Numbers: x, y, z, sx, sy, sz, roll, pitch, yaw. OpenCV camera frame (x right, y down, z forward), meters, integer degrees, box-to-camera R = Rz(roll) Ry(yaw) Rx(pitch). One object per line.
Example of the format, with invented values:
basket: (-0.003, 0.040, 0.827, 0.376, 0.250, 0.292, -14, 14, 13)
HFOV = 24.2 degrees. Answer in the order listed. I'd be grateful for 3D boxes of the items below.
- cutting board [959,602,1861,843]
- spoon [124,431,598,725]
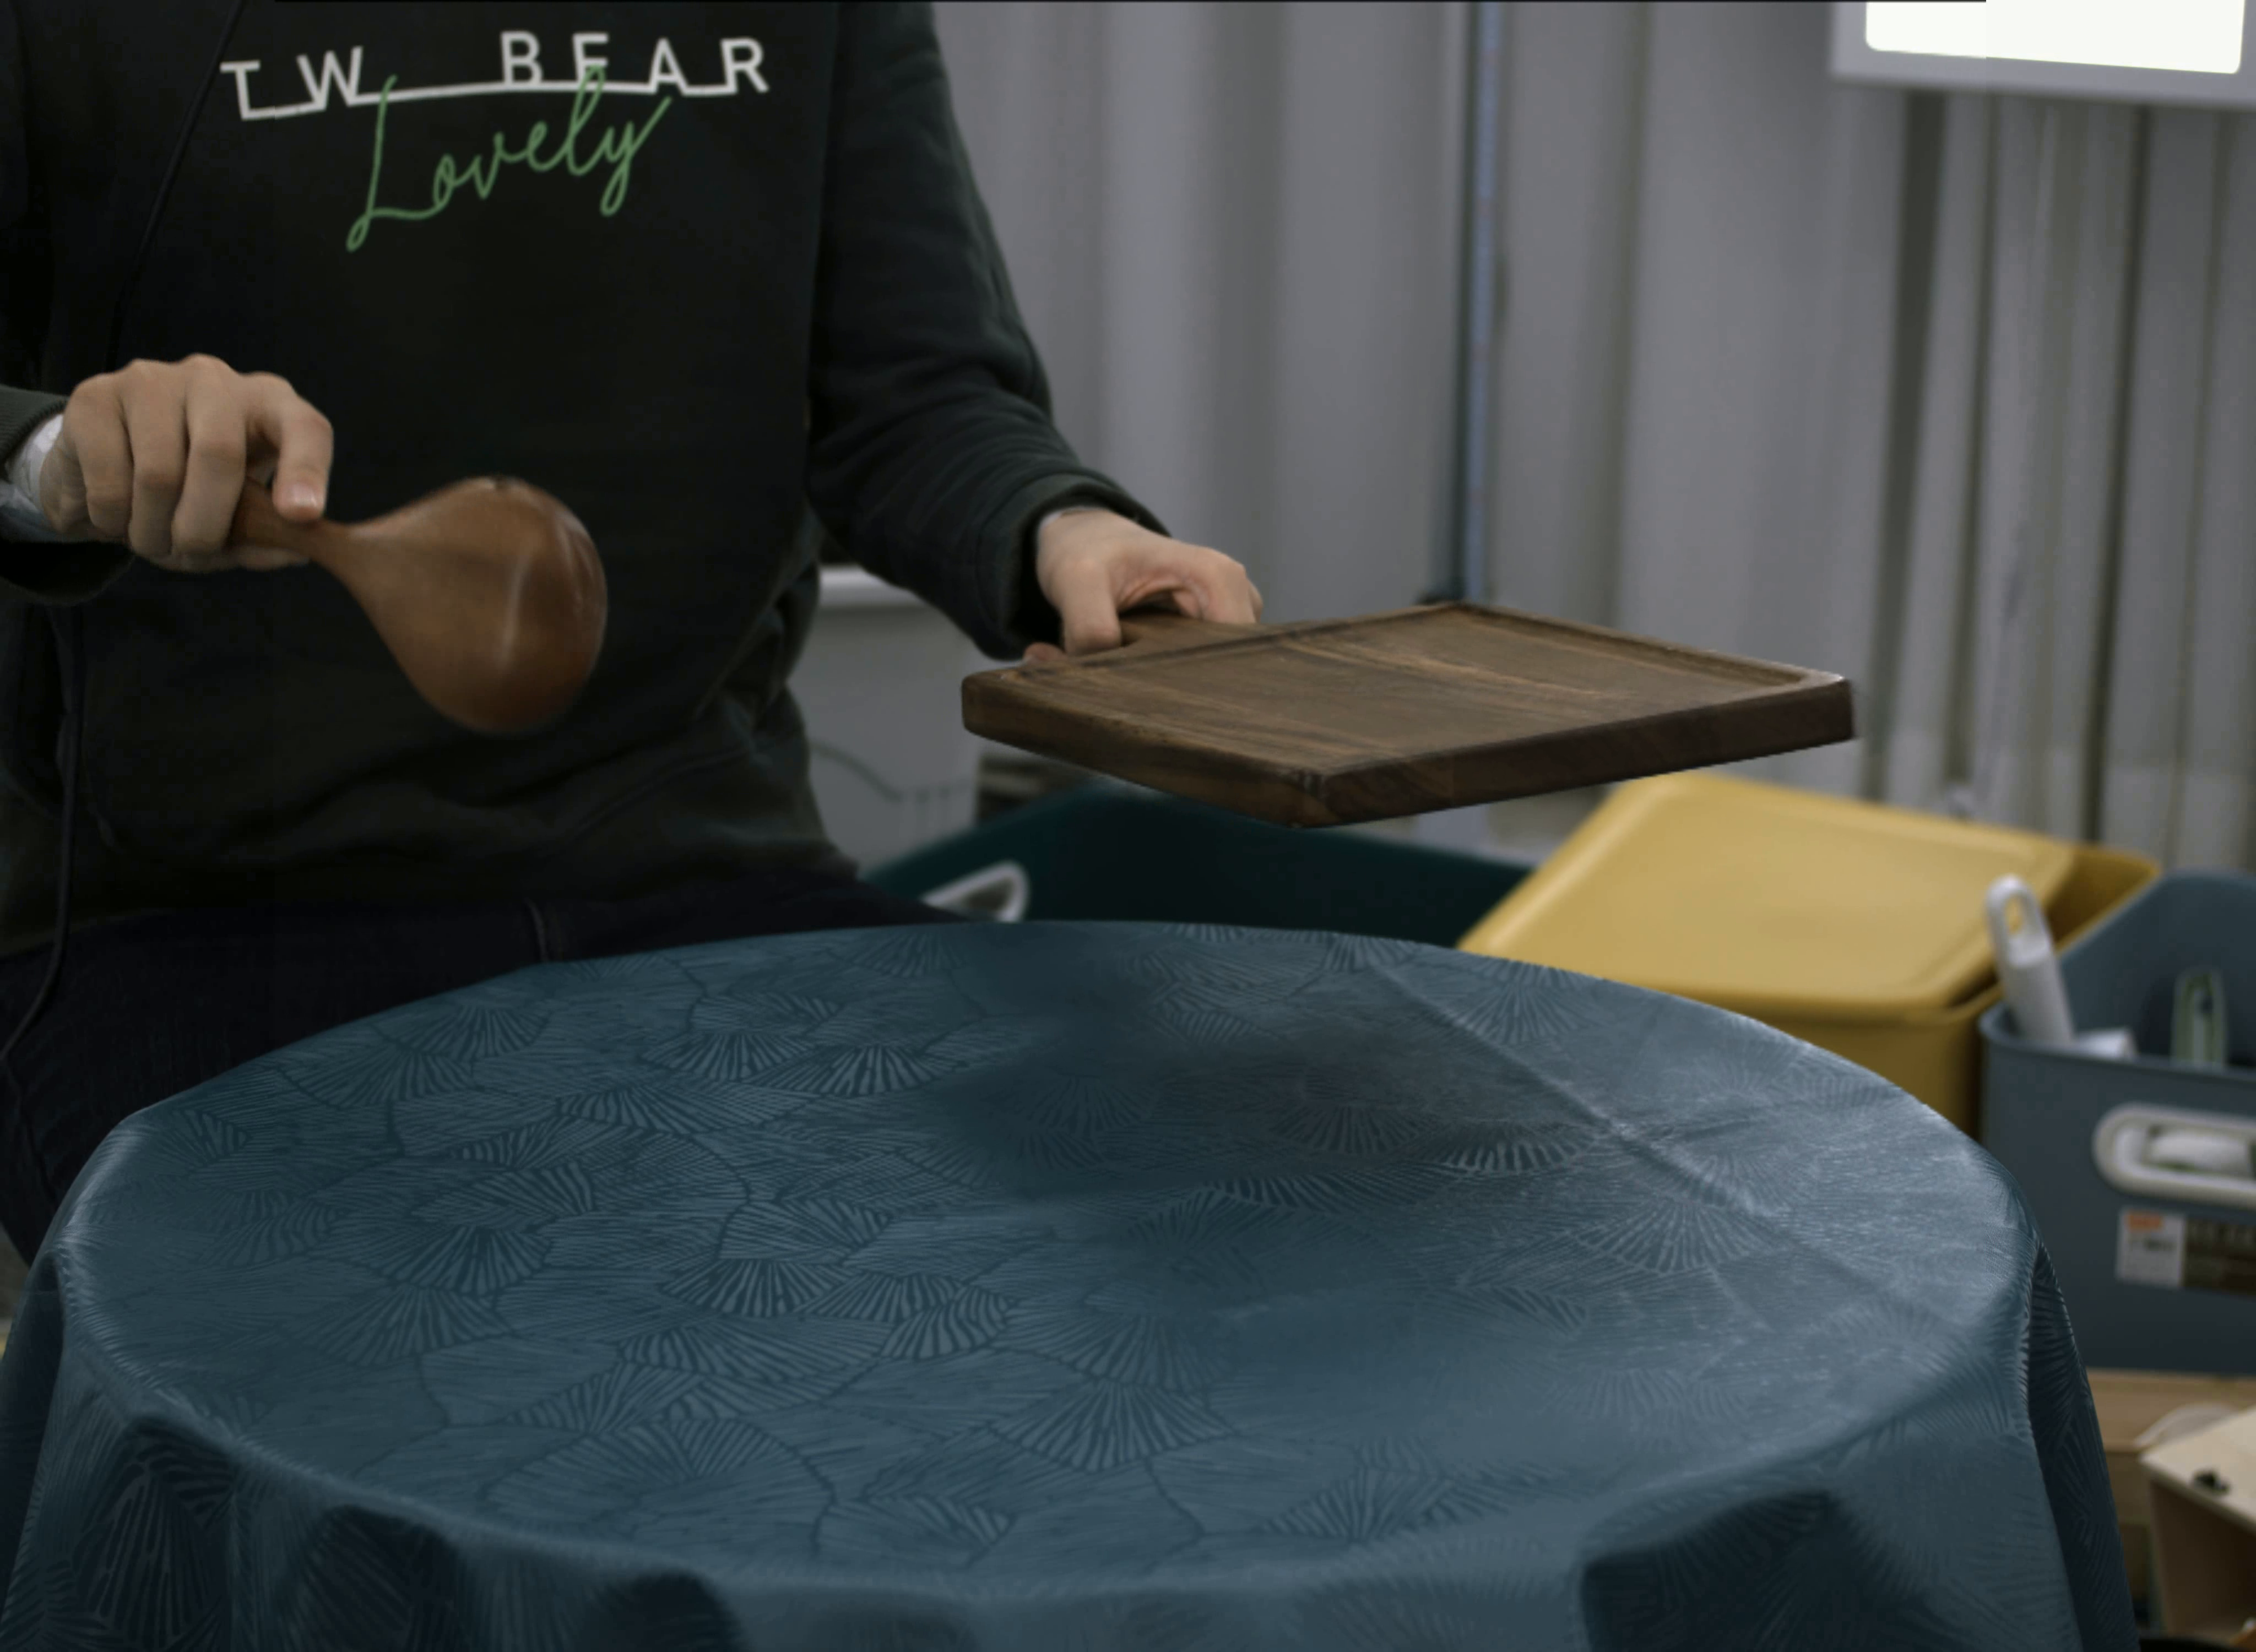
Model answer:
cutting board: (0.063, -0.043, 1.712, 0.201, 0.023, 0.348, -10, 12, -25)
spoon: (-0.232, -0.084, 1.563, 0.213, 0.076, 0.017, 20, 18, 41)
